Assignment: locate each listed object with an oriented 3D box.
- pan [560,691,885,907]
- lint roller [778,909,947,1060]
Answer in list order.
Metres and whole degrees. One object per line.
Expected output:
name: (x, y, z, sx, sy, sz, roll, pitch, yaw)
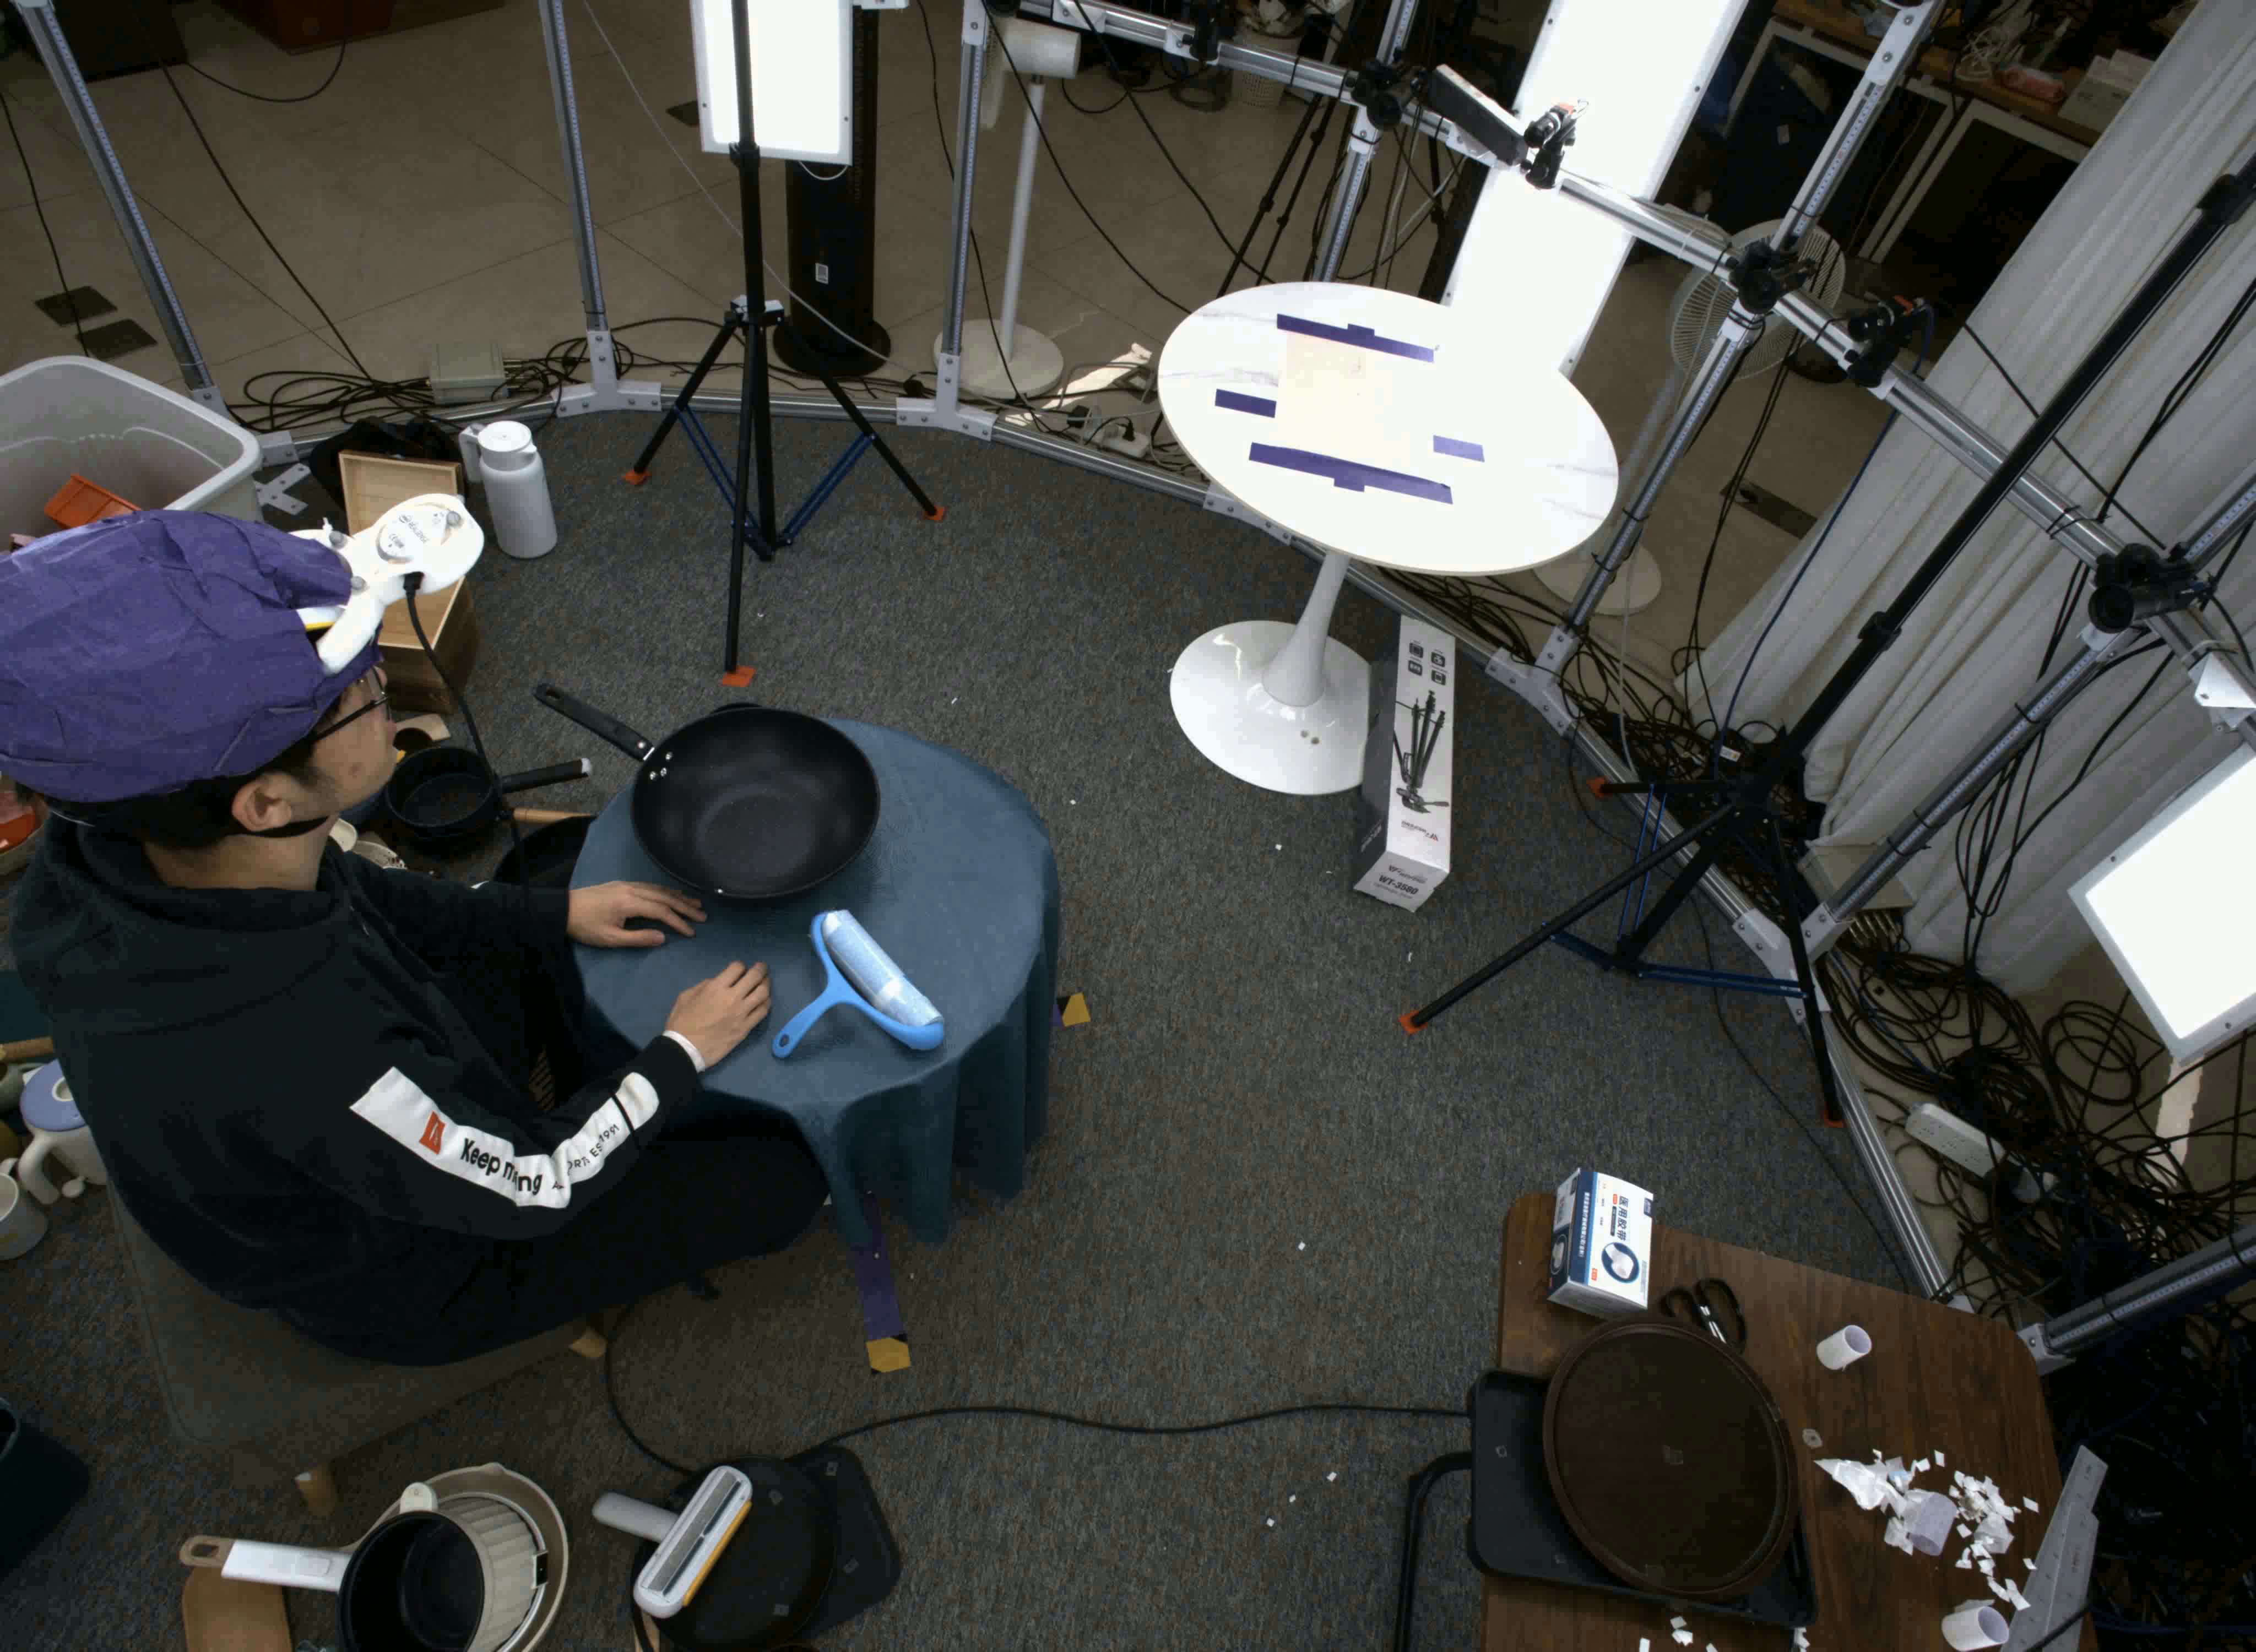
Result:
pan: (-0.545, -0.049, 1.665, 0.471, 0.114, 0.307, 23, 50, 3)
lint roller: (-0.343, 0.211, 1.560, 0.224, 0.069, 0.180, 42, 54, 14)
